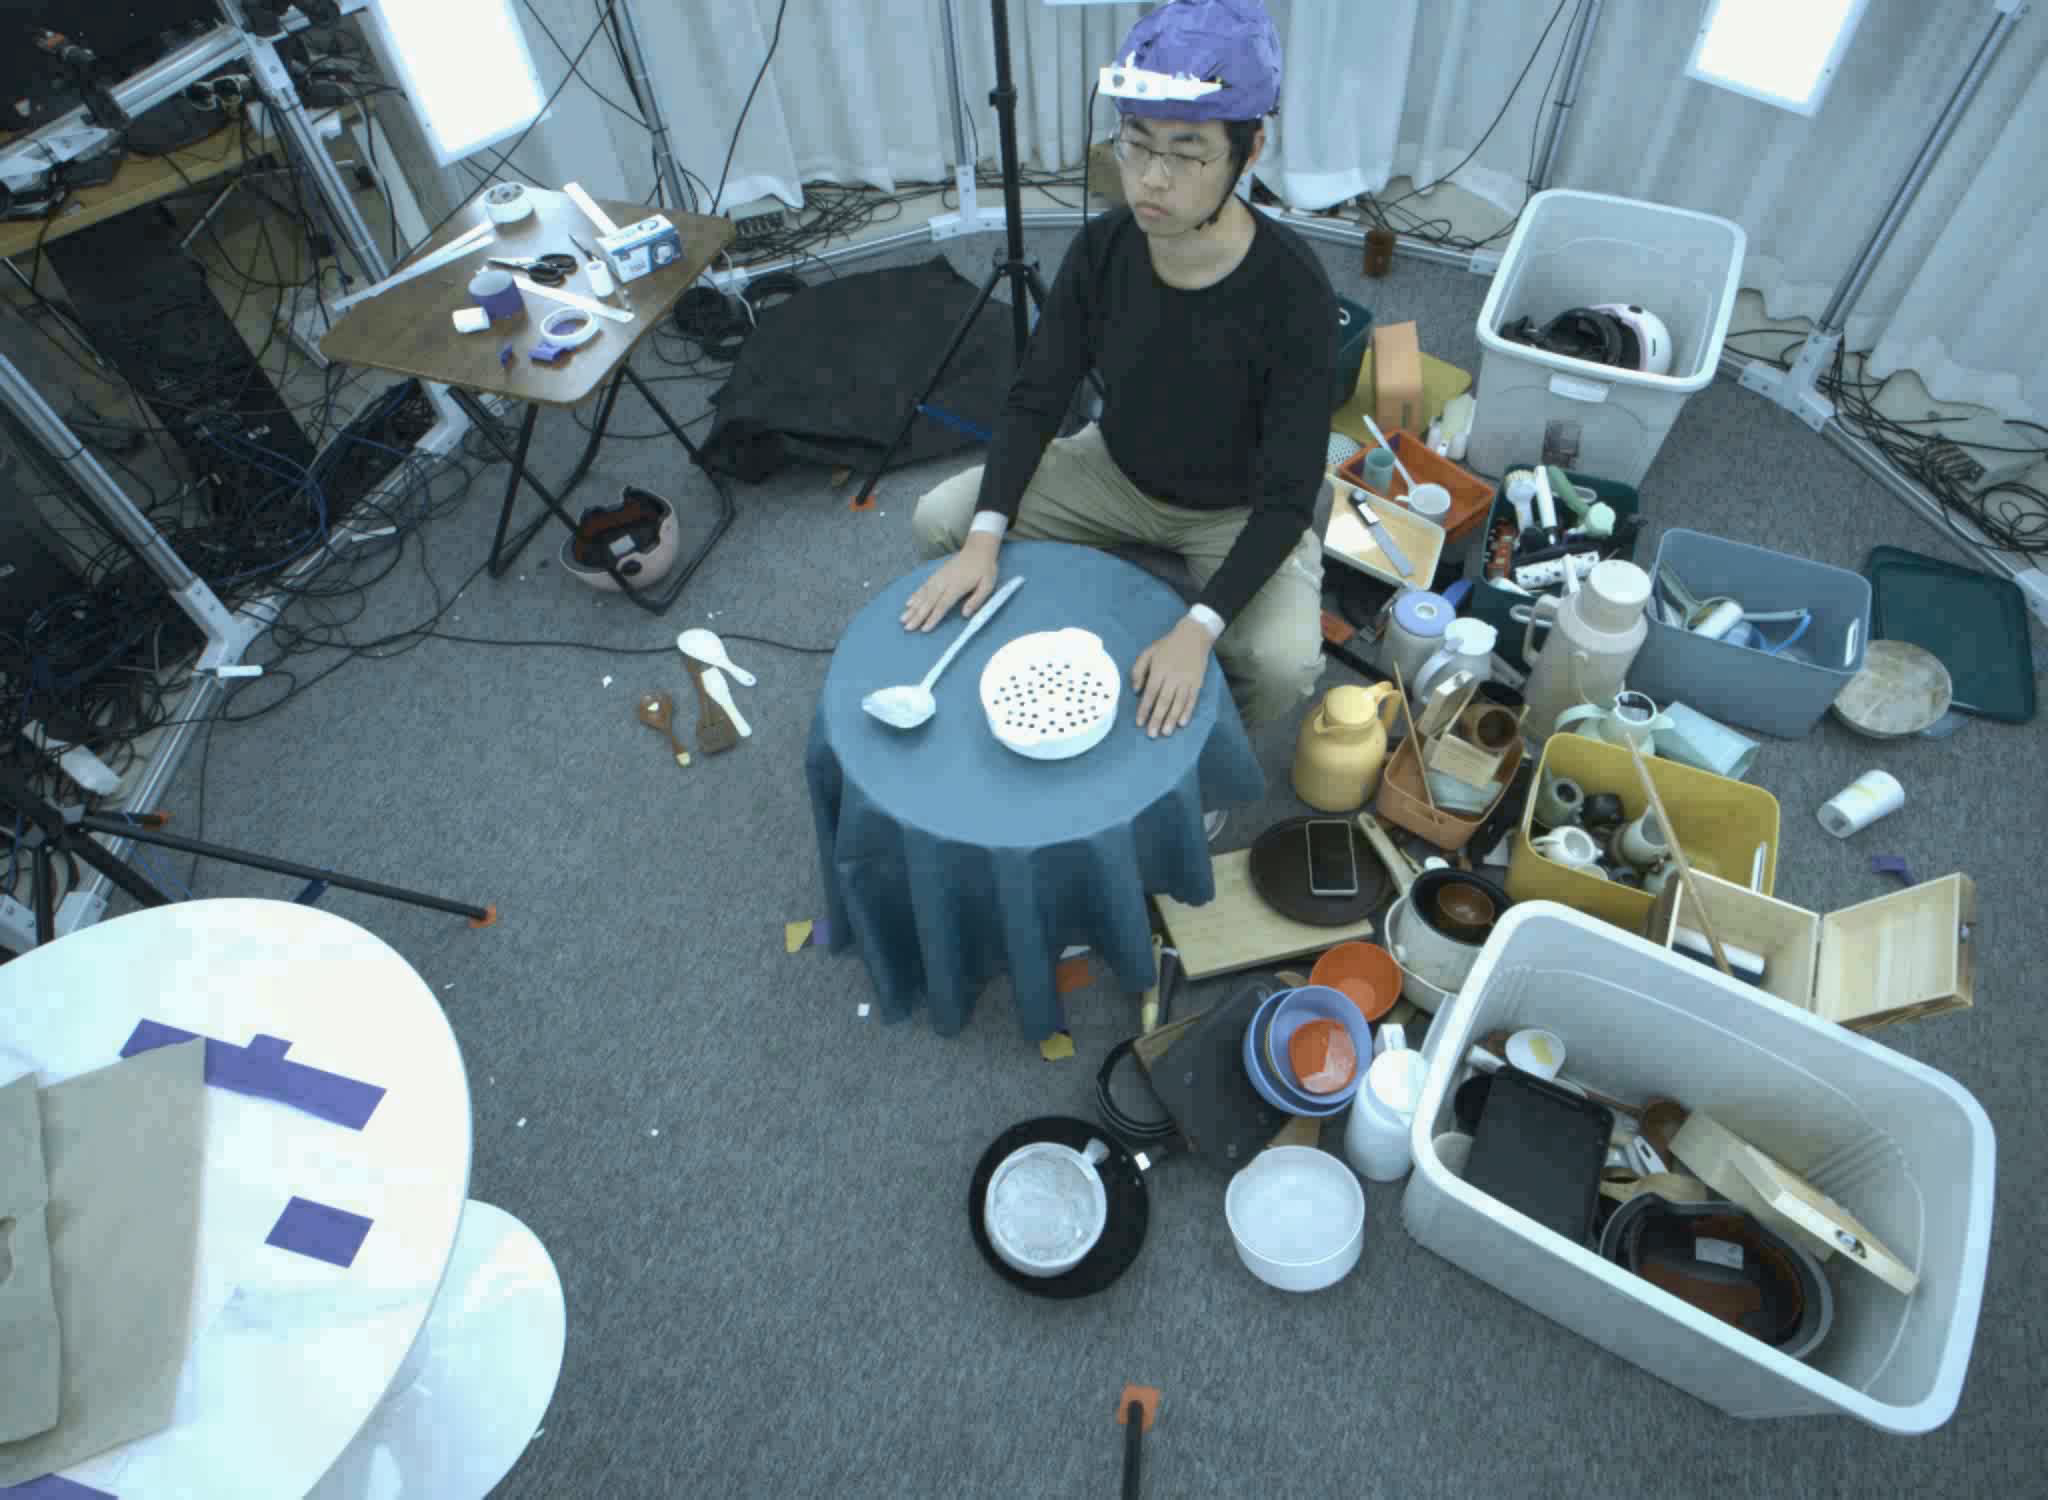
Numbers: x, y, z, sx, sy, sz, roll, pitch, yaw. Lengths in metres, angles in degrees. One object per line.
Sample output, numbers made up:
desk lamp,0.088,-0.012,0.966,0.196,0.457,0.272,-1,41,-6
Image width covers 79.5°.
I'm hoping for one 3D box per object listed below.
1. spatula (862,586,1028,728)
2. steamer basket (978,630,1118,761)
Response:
spatula,-0.106,-0.157,1.879,0.097,0.045,0.366,27,60,22
steamer basket,0.036,-0.076,1.797,0.199,0.070,0.231,24,58,16
